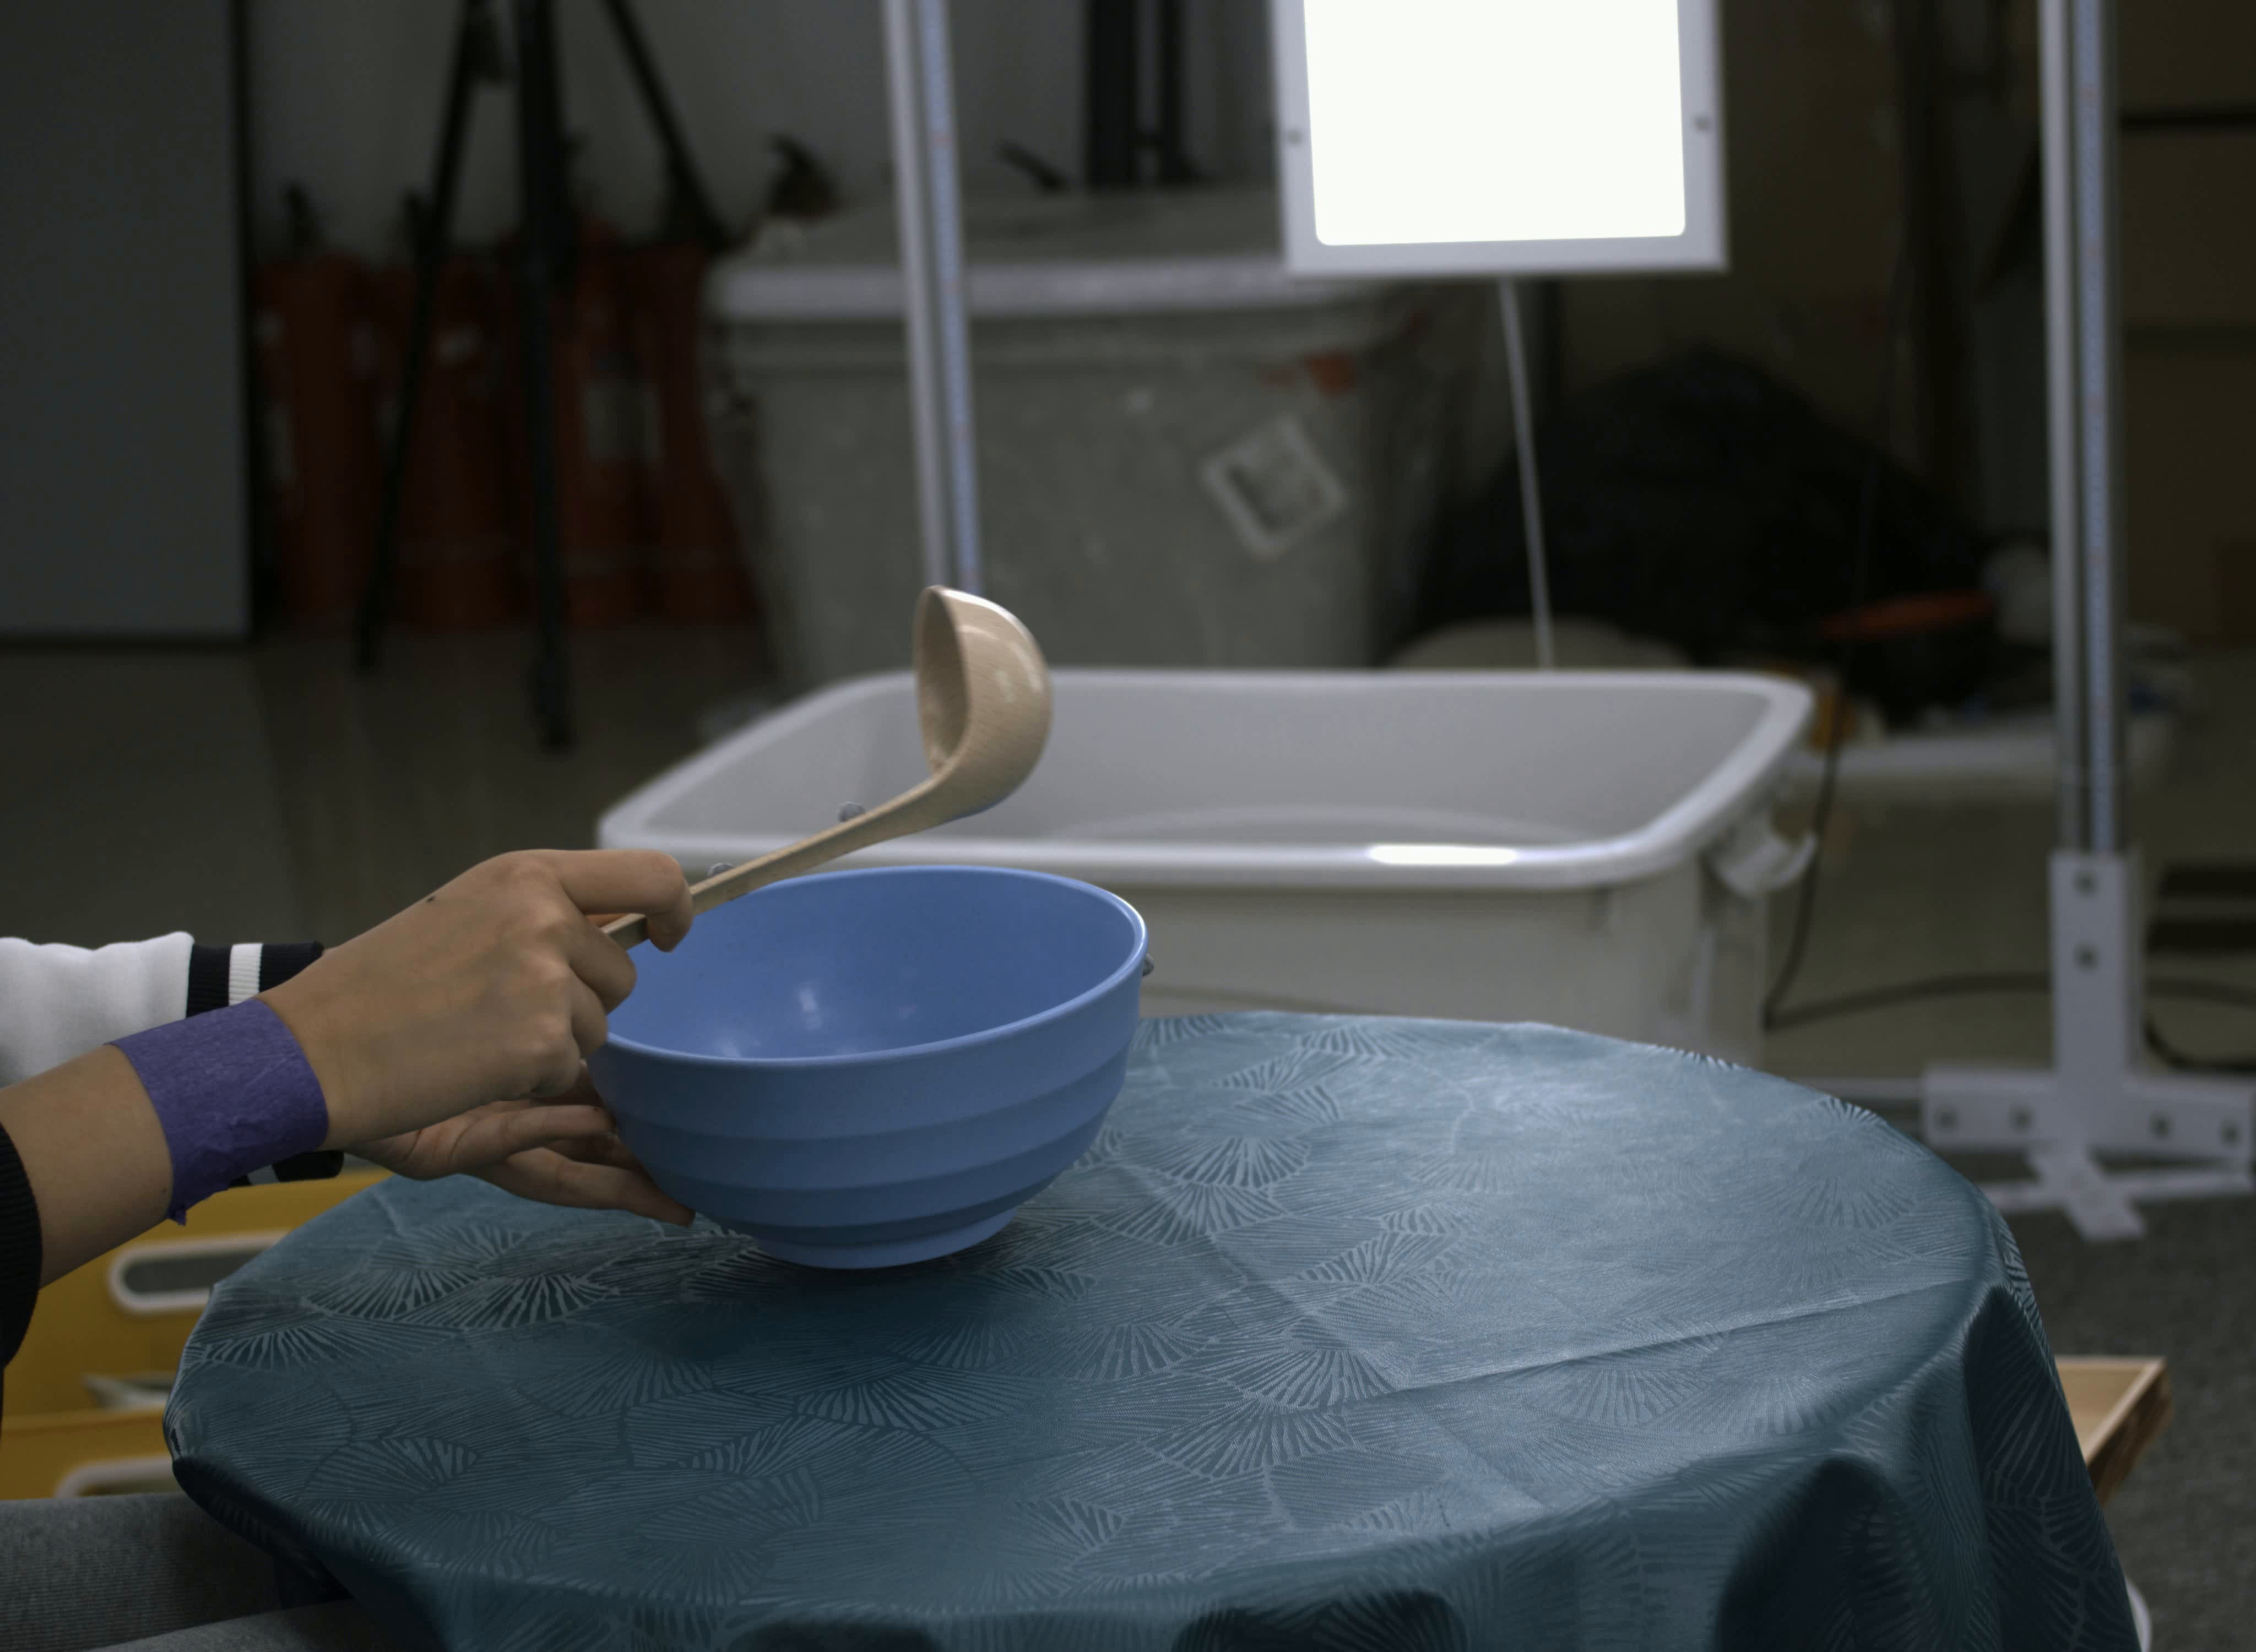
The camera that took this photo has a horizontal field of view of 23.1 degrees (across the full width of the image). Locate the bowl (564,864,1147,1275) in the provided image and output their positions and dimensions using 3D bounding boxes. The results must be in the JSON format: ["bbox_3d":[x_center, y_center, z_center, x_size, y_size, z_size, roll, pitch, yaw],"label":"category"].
[{"bbox_3d":[-0.087,0.090,1.856,0.196,0.096,0.196,-5,19,0],"label":"bowl"}]

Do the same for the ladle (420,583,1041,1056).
[{"bbox_3d":[-0.135,-0.003,1.703,0.249,0.073,0.074,-26,53,-31],"label":"ladle"}]
